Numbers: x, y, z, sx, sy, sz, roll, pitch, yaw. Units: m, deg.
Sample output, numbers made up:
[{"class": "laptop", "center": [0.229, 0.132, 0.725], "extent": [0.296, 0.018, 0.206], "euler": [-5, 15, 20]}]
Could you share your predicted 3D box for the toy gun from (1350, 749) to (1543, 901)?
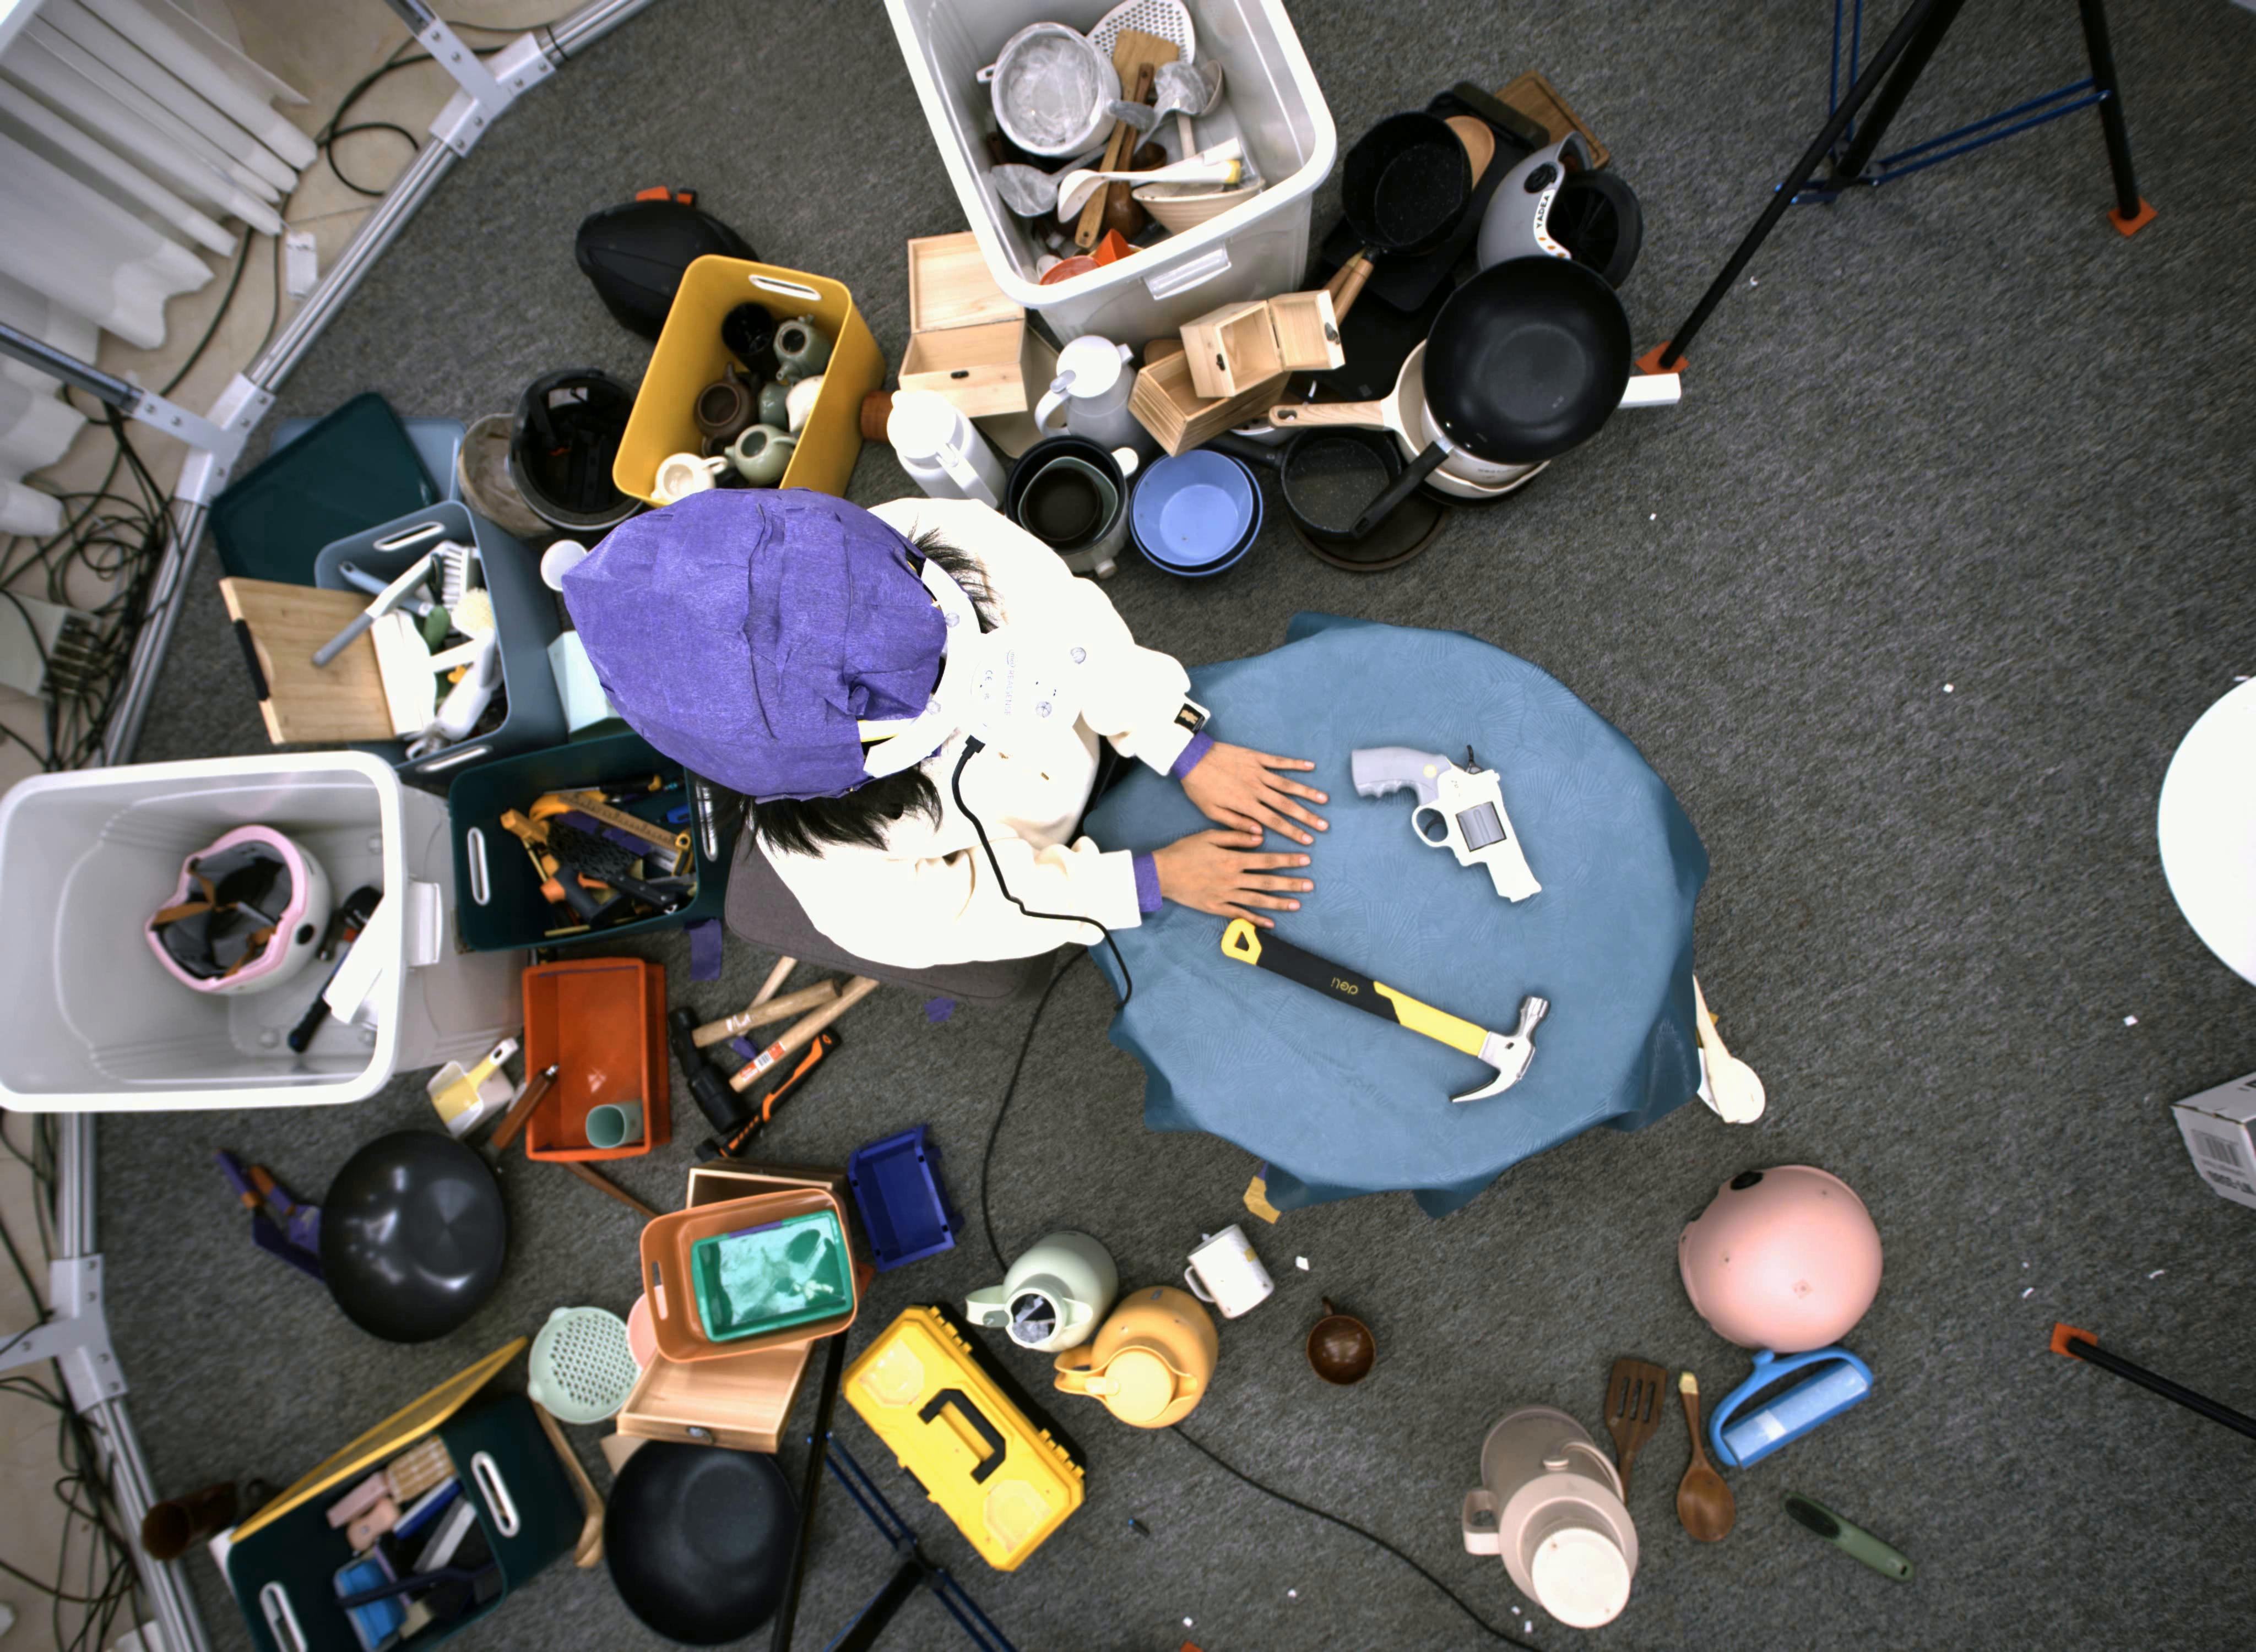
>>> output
[{"class": "toy gun", "center": [0.328, -0.005, 1.434], "extent": [0.142, 0.039, 0.208], "euler": [-23, 83, 7]}]

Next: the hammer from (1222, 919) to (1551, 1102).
[{"class": "hammer", "center": [0.256, 0.176, 1.438], "extent": [0.338, 0.032, 0.131], "euler": [23, 93, 10]}]
